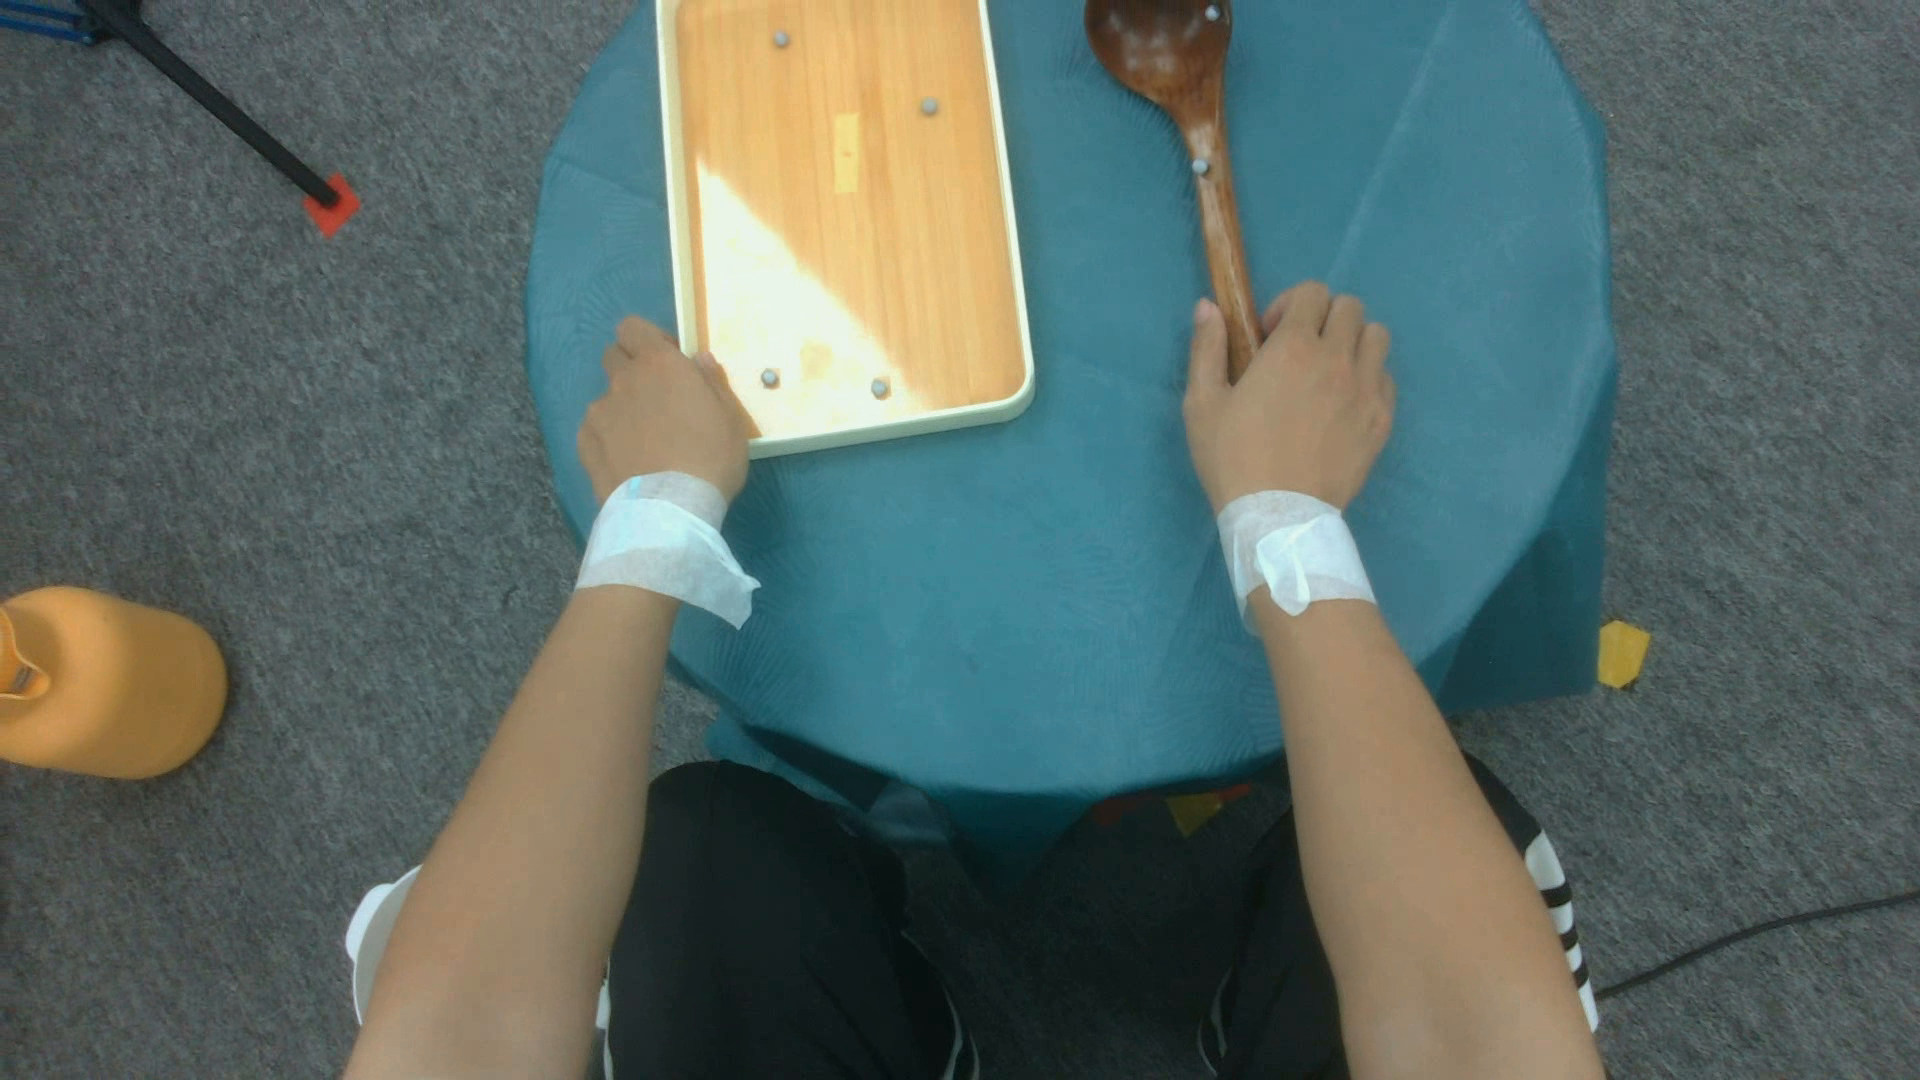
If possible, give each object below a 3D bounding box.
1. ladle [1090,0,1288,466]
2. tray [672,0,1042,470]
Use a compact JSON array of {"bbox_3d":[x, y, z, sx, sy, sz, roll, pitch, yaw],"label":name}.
[{"bbox_3d":[0.127,-0.176,0.735,0.081,0.077,0.274,-21,69,43],"label":"ladle"},{"bbox_3d":[-0.063,-0.195,0.790,0.191,0.027,0.301,-8,74,6],"label":"tray"}]
